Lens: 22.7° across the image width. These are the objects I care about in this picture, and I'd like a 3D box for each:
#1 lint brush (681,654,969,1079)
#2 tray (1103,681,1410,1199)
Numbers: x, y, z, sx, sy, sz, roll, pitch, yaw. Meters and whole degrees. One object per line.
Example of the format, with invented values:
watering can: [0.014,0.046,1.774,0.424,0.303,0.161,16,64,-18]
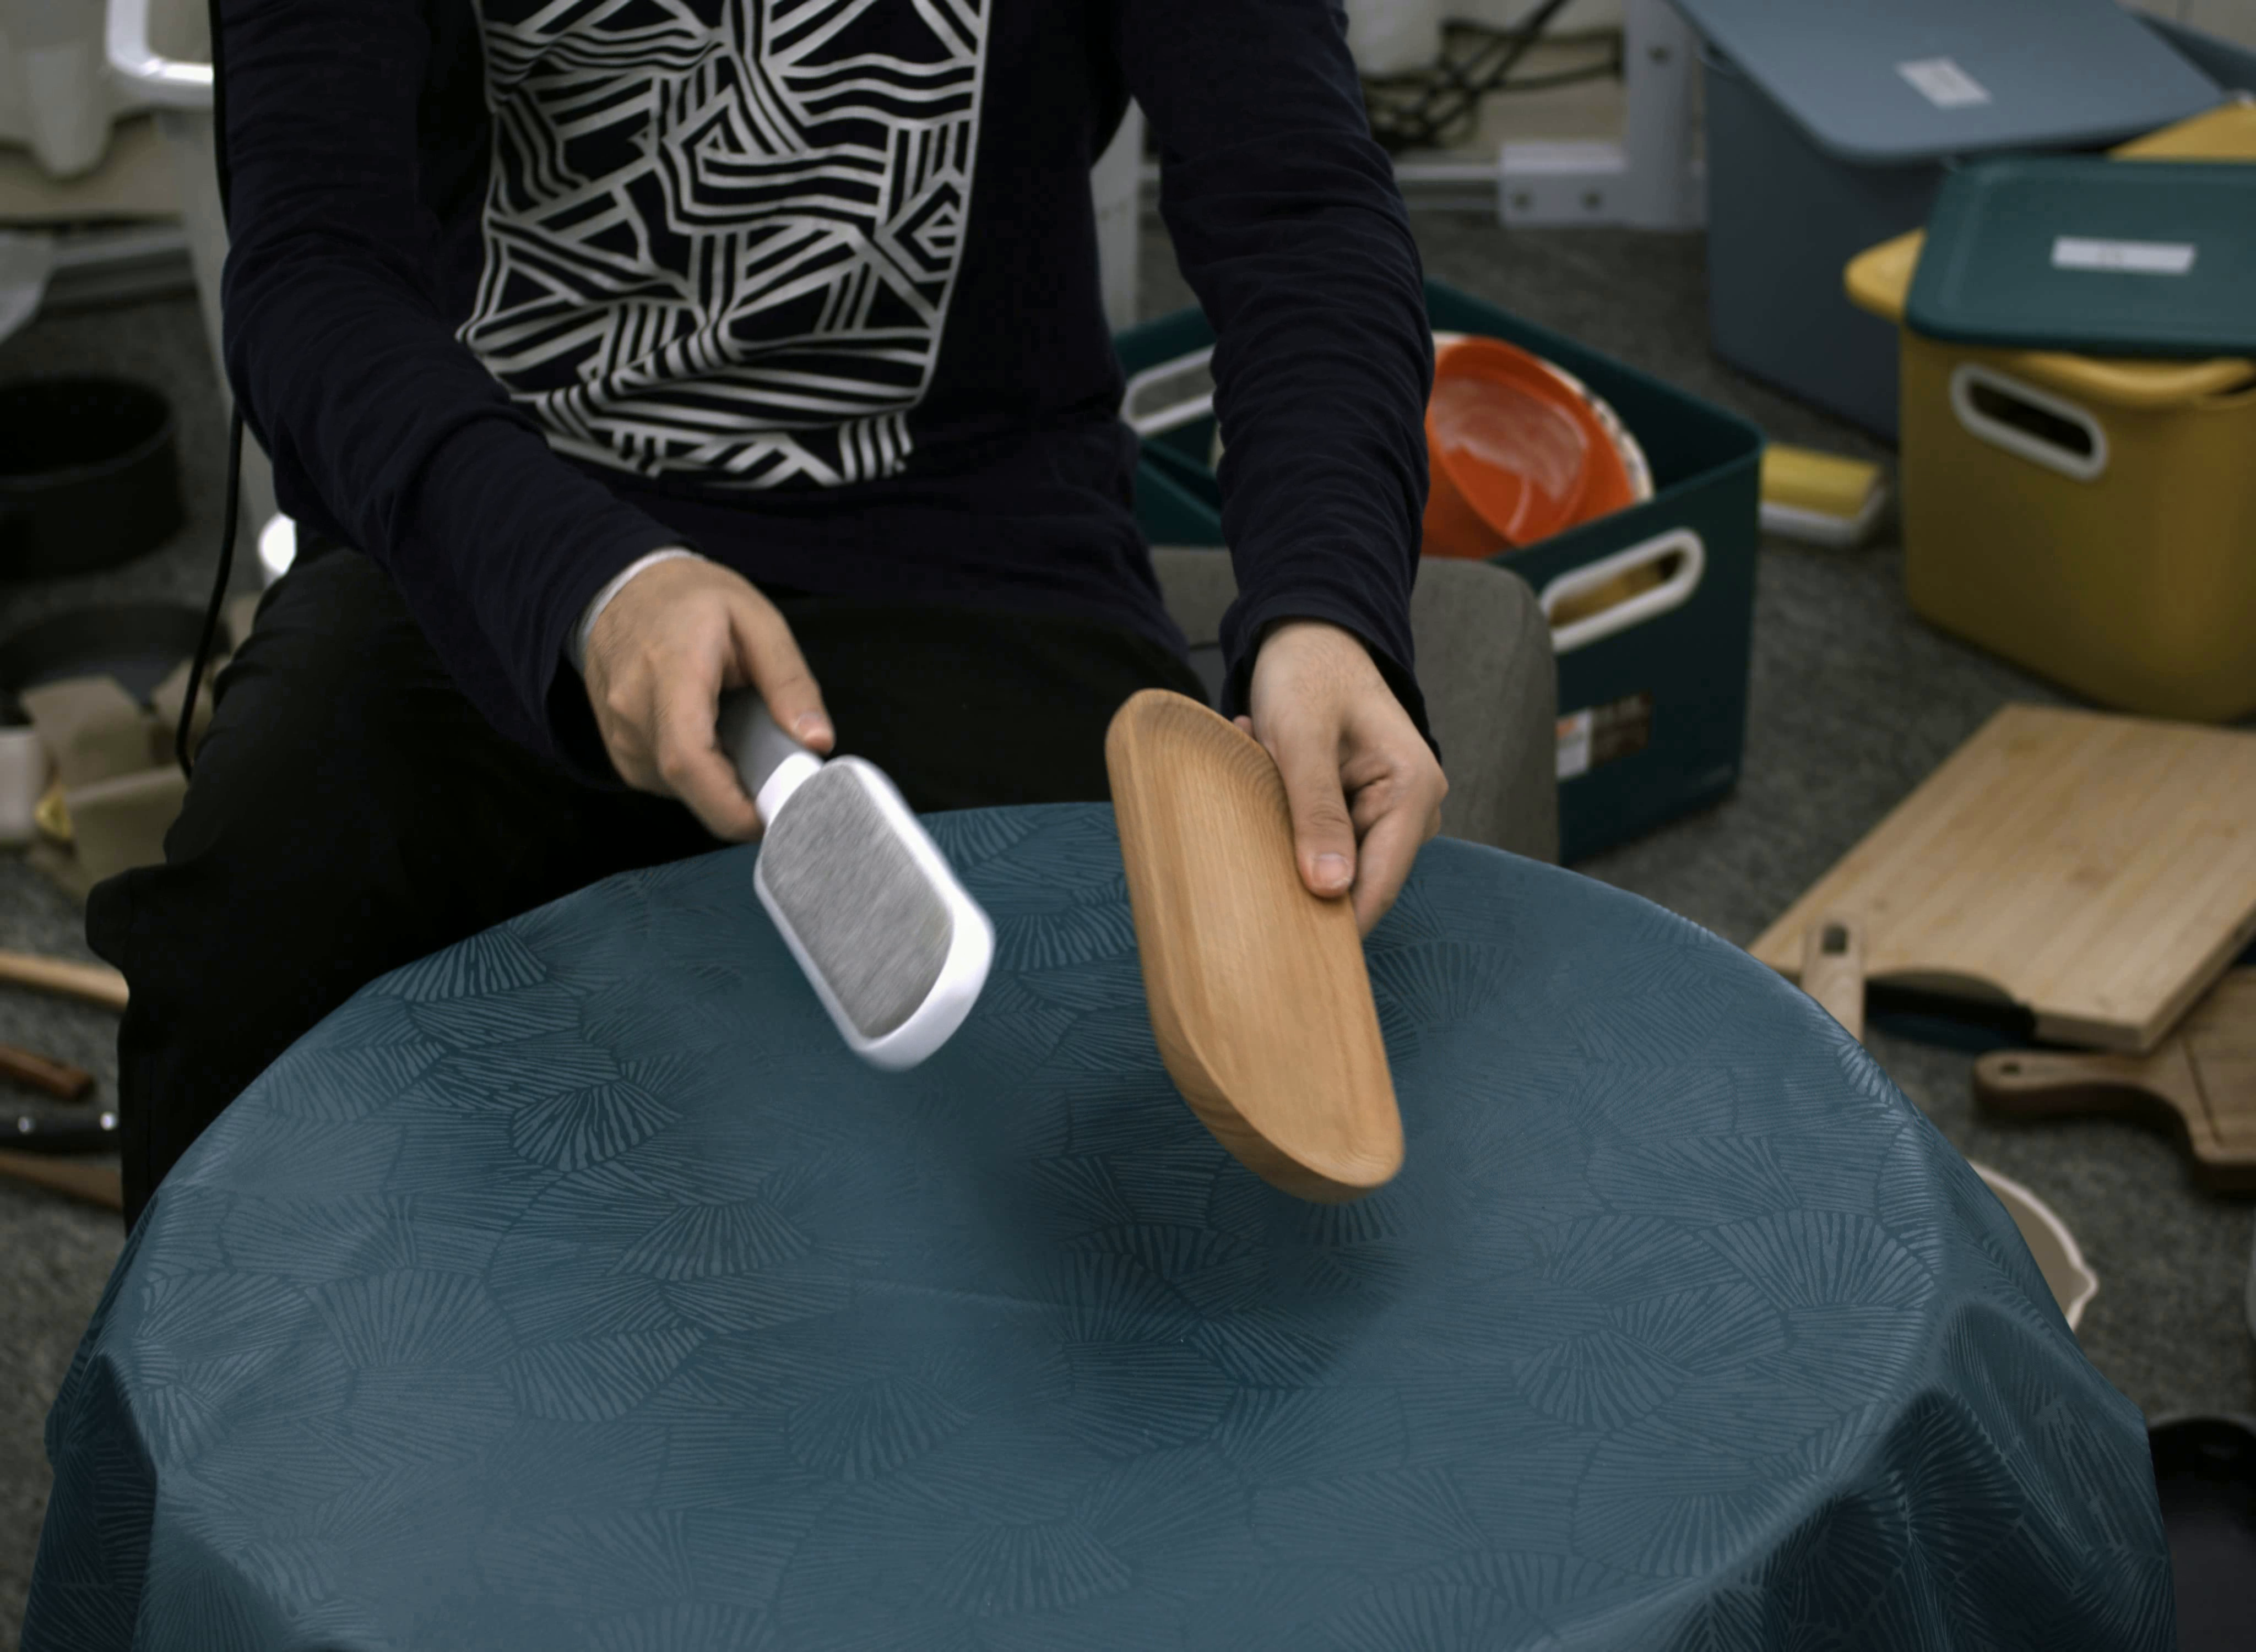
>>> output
lint brush: [-0.105,0.004,1.853,0.021,0.060,0.311,30,10,-26]
tray: [0.040,0.036,1.853,0.101,0.020,0.235,33,26,-31]
